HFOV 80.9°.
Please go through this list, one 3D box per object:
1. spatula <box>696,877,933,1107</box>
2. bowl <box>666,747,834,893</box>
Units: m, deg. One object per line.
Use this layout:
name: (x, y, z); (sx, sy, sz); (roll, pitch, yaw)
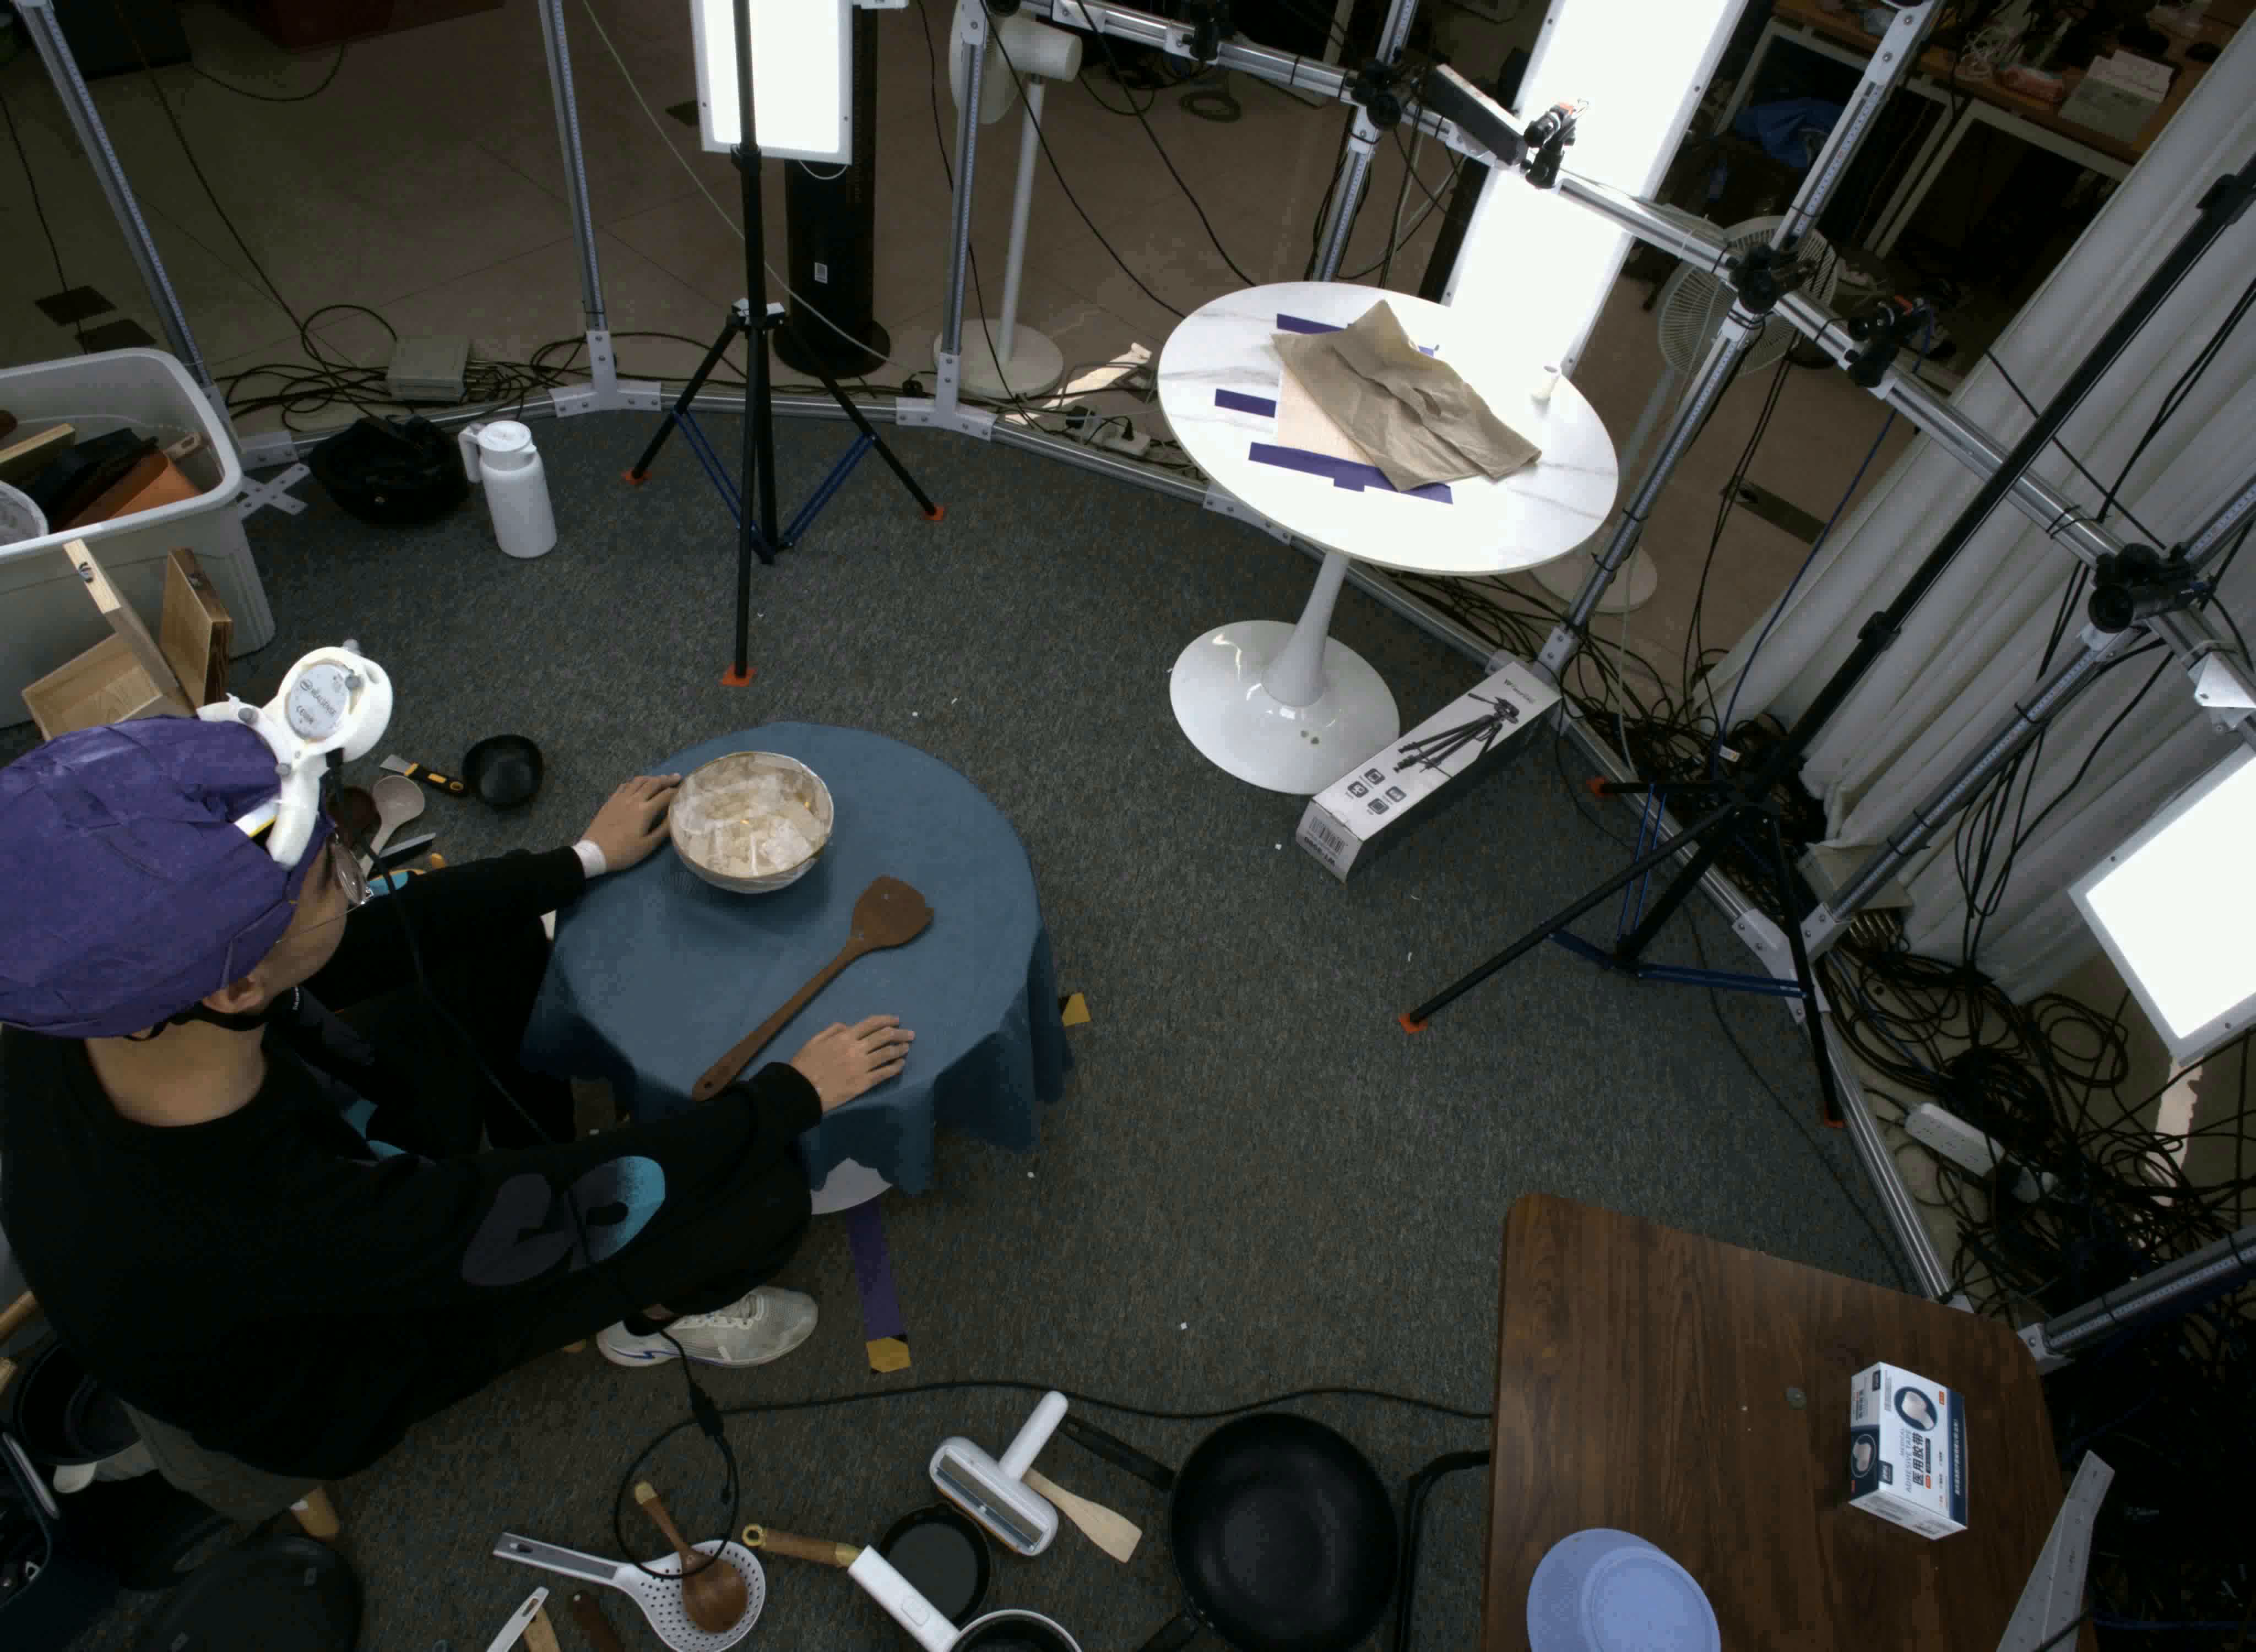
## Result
spatula: (-0.385, 0.198, 1.583); (0.094, 0.016, 0.385); (34, 53, 12)
bowl: (-0.480, 0.007, 1.649); (0.214, 0.096, 0.211); (8, 54, -9)
